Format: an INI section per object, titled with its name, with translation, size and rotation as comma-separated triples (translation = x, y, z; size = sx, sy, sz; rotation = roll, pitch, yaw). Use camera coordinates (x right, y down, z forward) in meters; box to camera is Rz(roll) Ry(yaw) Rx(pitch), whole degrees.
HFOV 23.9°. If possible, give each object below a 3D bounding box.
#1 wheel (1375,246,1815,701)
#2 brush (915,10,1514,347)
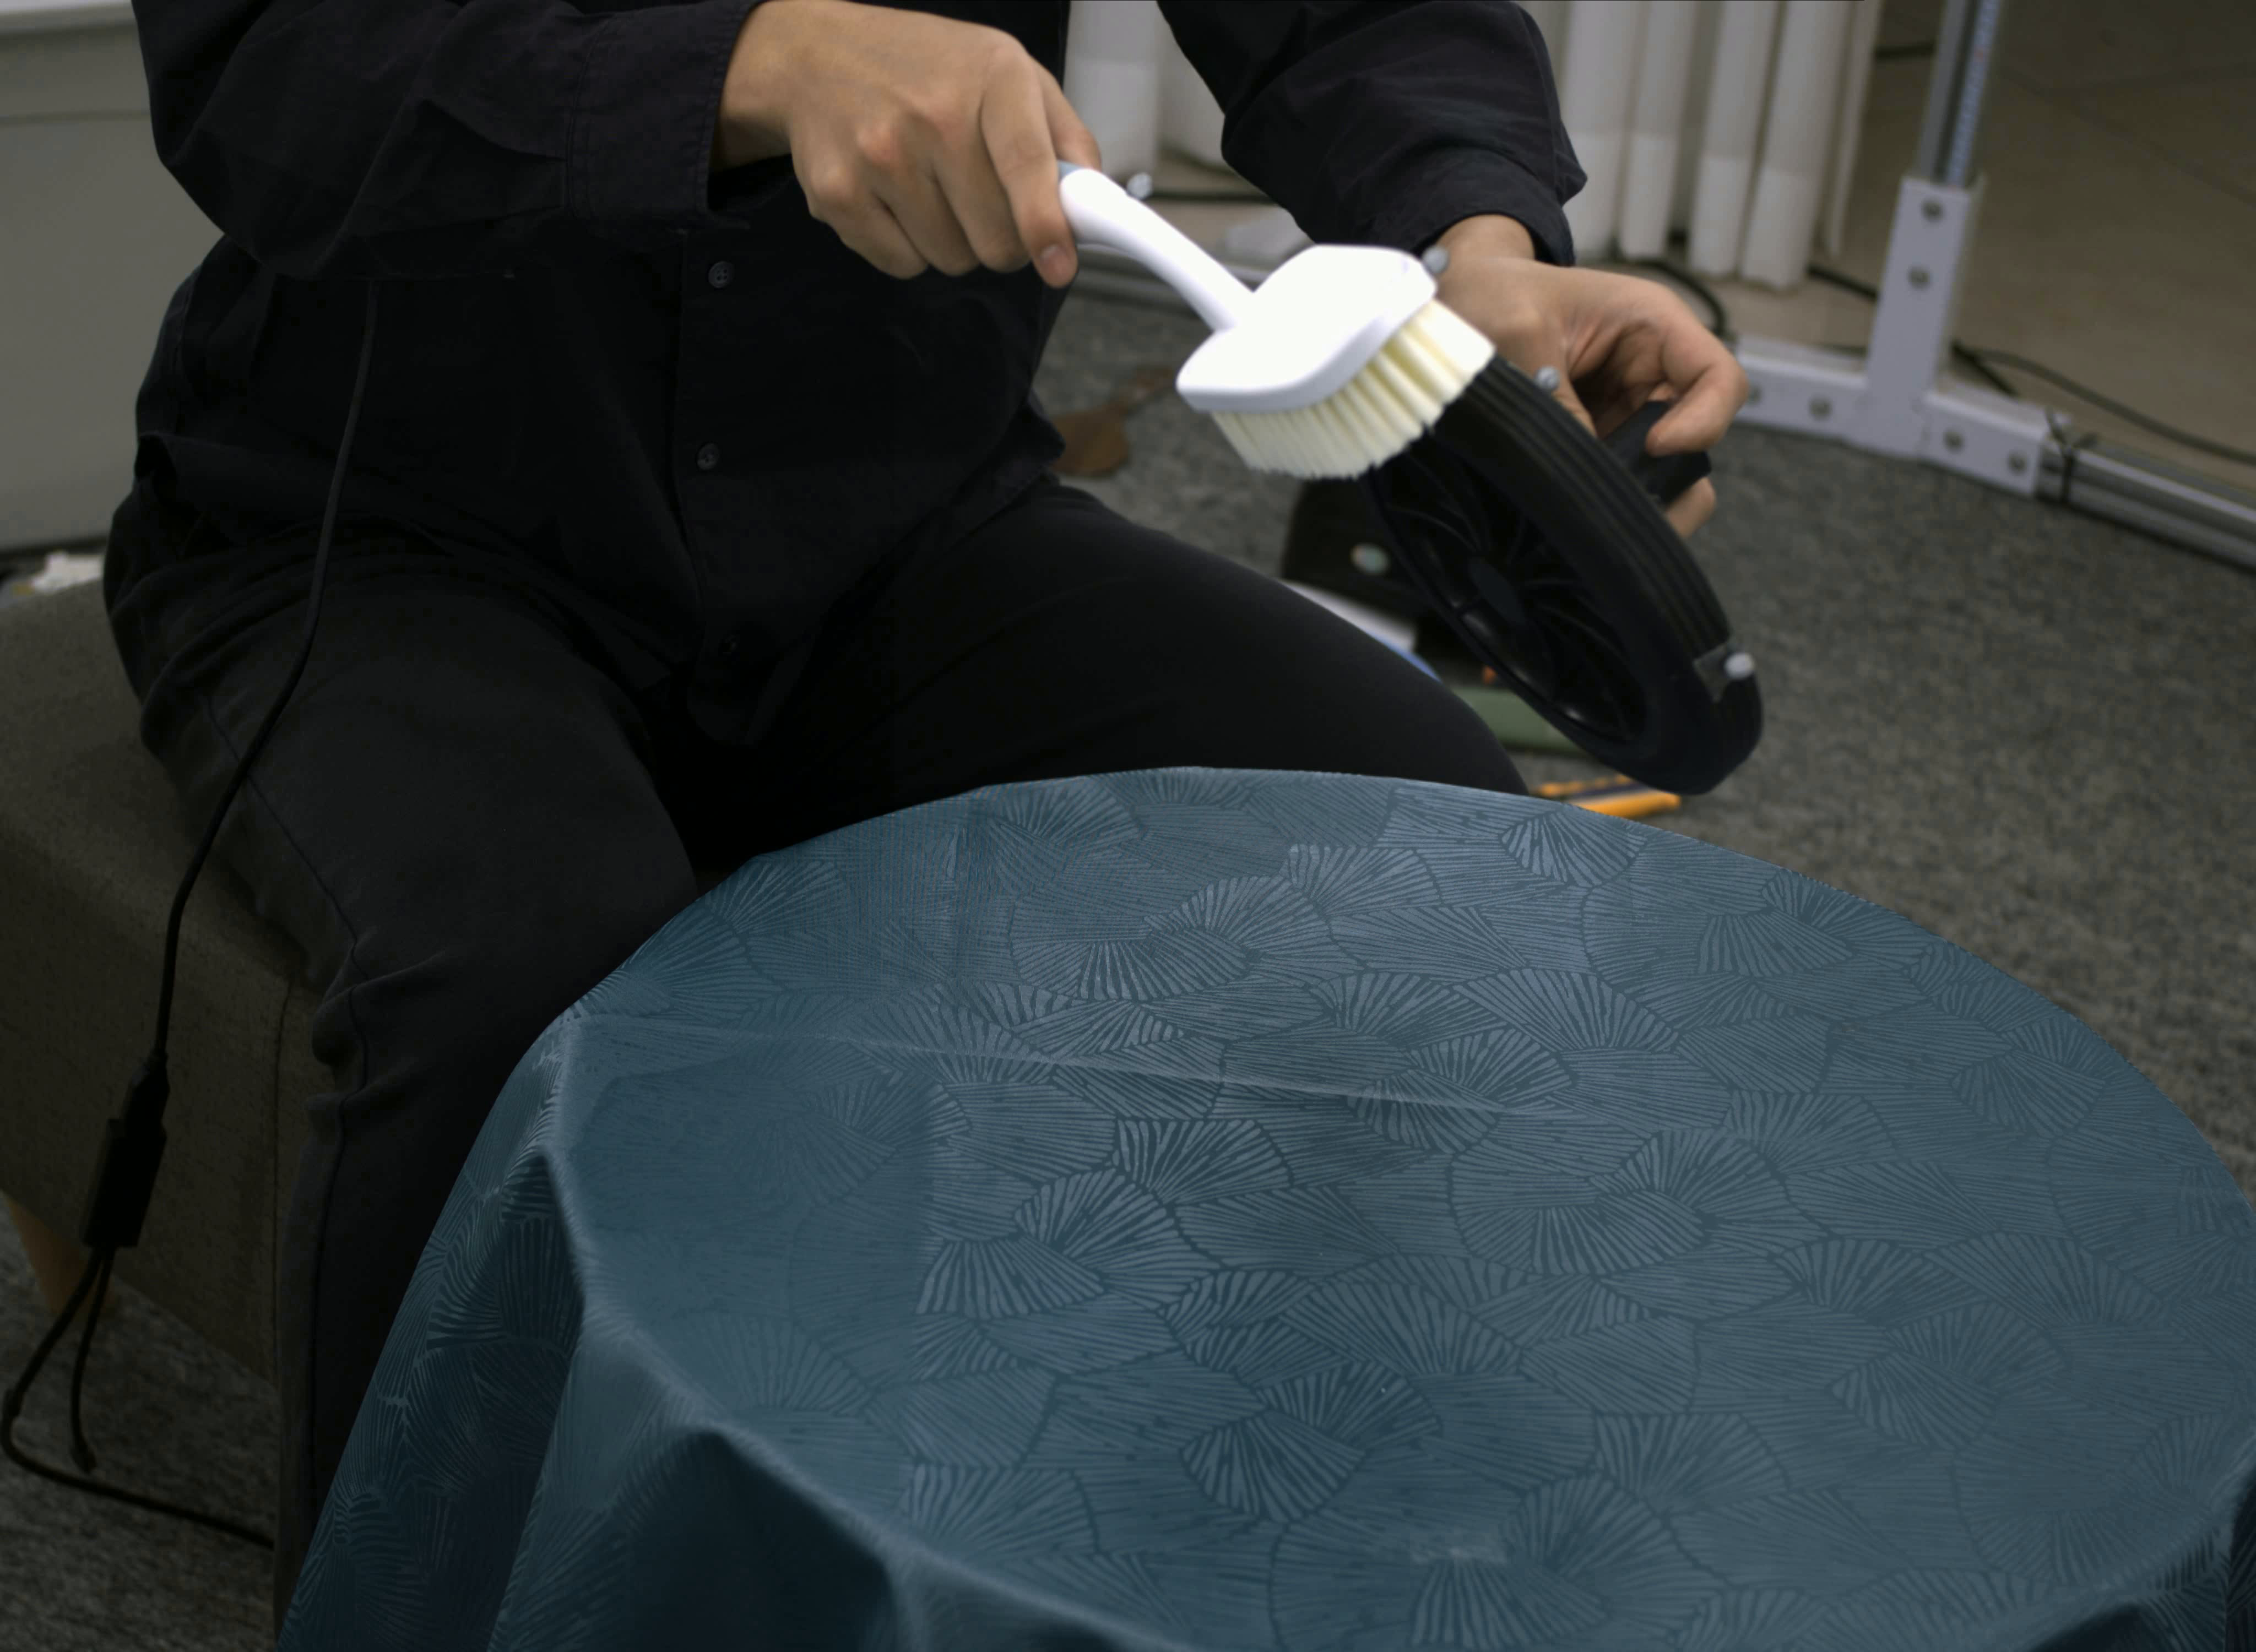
[wheel]
translation = 0.168, -0.131, 1.766
size = 0.079, 0.186, 0.191
rotation = -43, 72, -13
[brush]
translation = 0.032, -0.213, 1.754
size = 0.082, 0.084, 0.328
rotation = -12, 20, -27
